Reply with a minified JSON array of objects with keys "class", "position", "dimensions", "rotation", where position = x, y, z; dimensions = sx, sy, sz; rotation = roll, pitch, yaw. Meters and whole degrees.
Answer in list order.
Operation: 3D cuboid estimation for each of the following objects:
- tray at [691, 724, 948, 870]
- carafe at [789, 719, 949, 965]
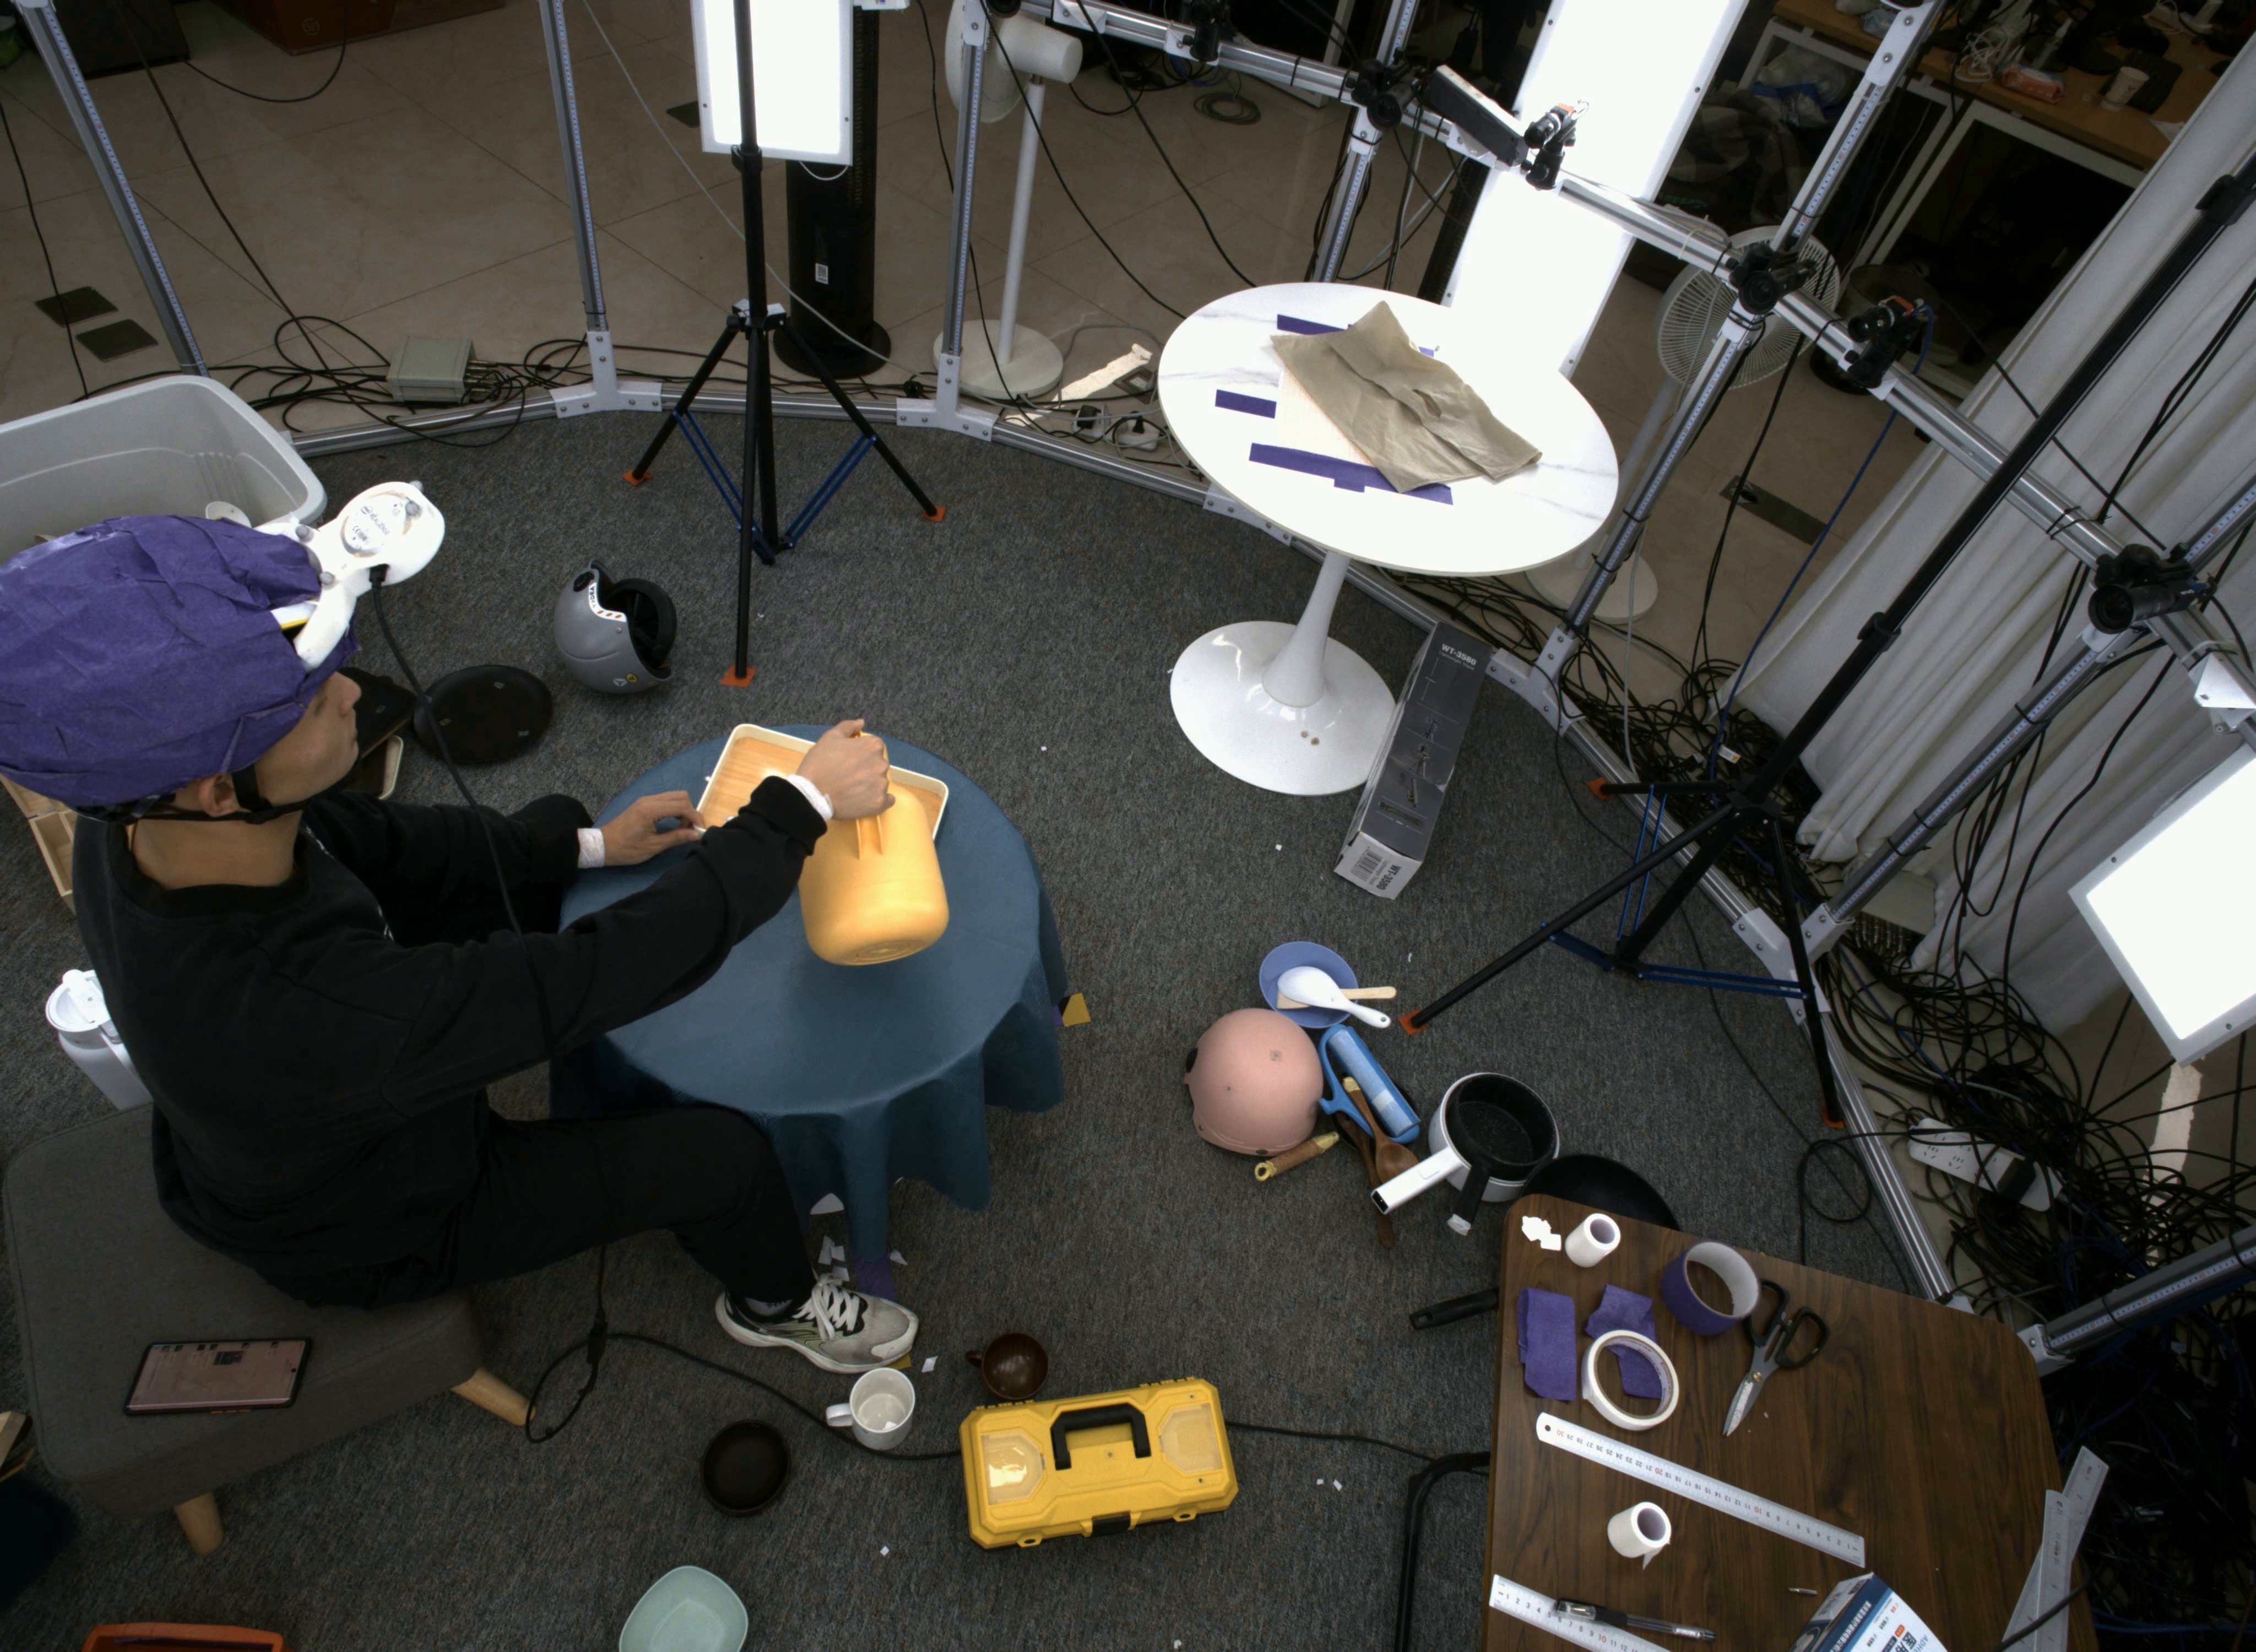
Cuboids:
[{"class":"tray","position":[-0.401,-0.022,1.707],"dimensions":[0.300,0.028,0.189],"rotation":[17,51,-9]},{"class":"carafe","position":[-0.305,0.011,1.477],"dimensions":[0.163,0.204,0.258],"rotation":[-12,74,-15]}]
